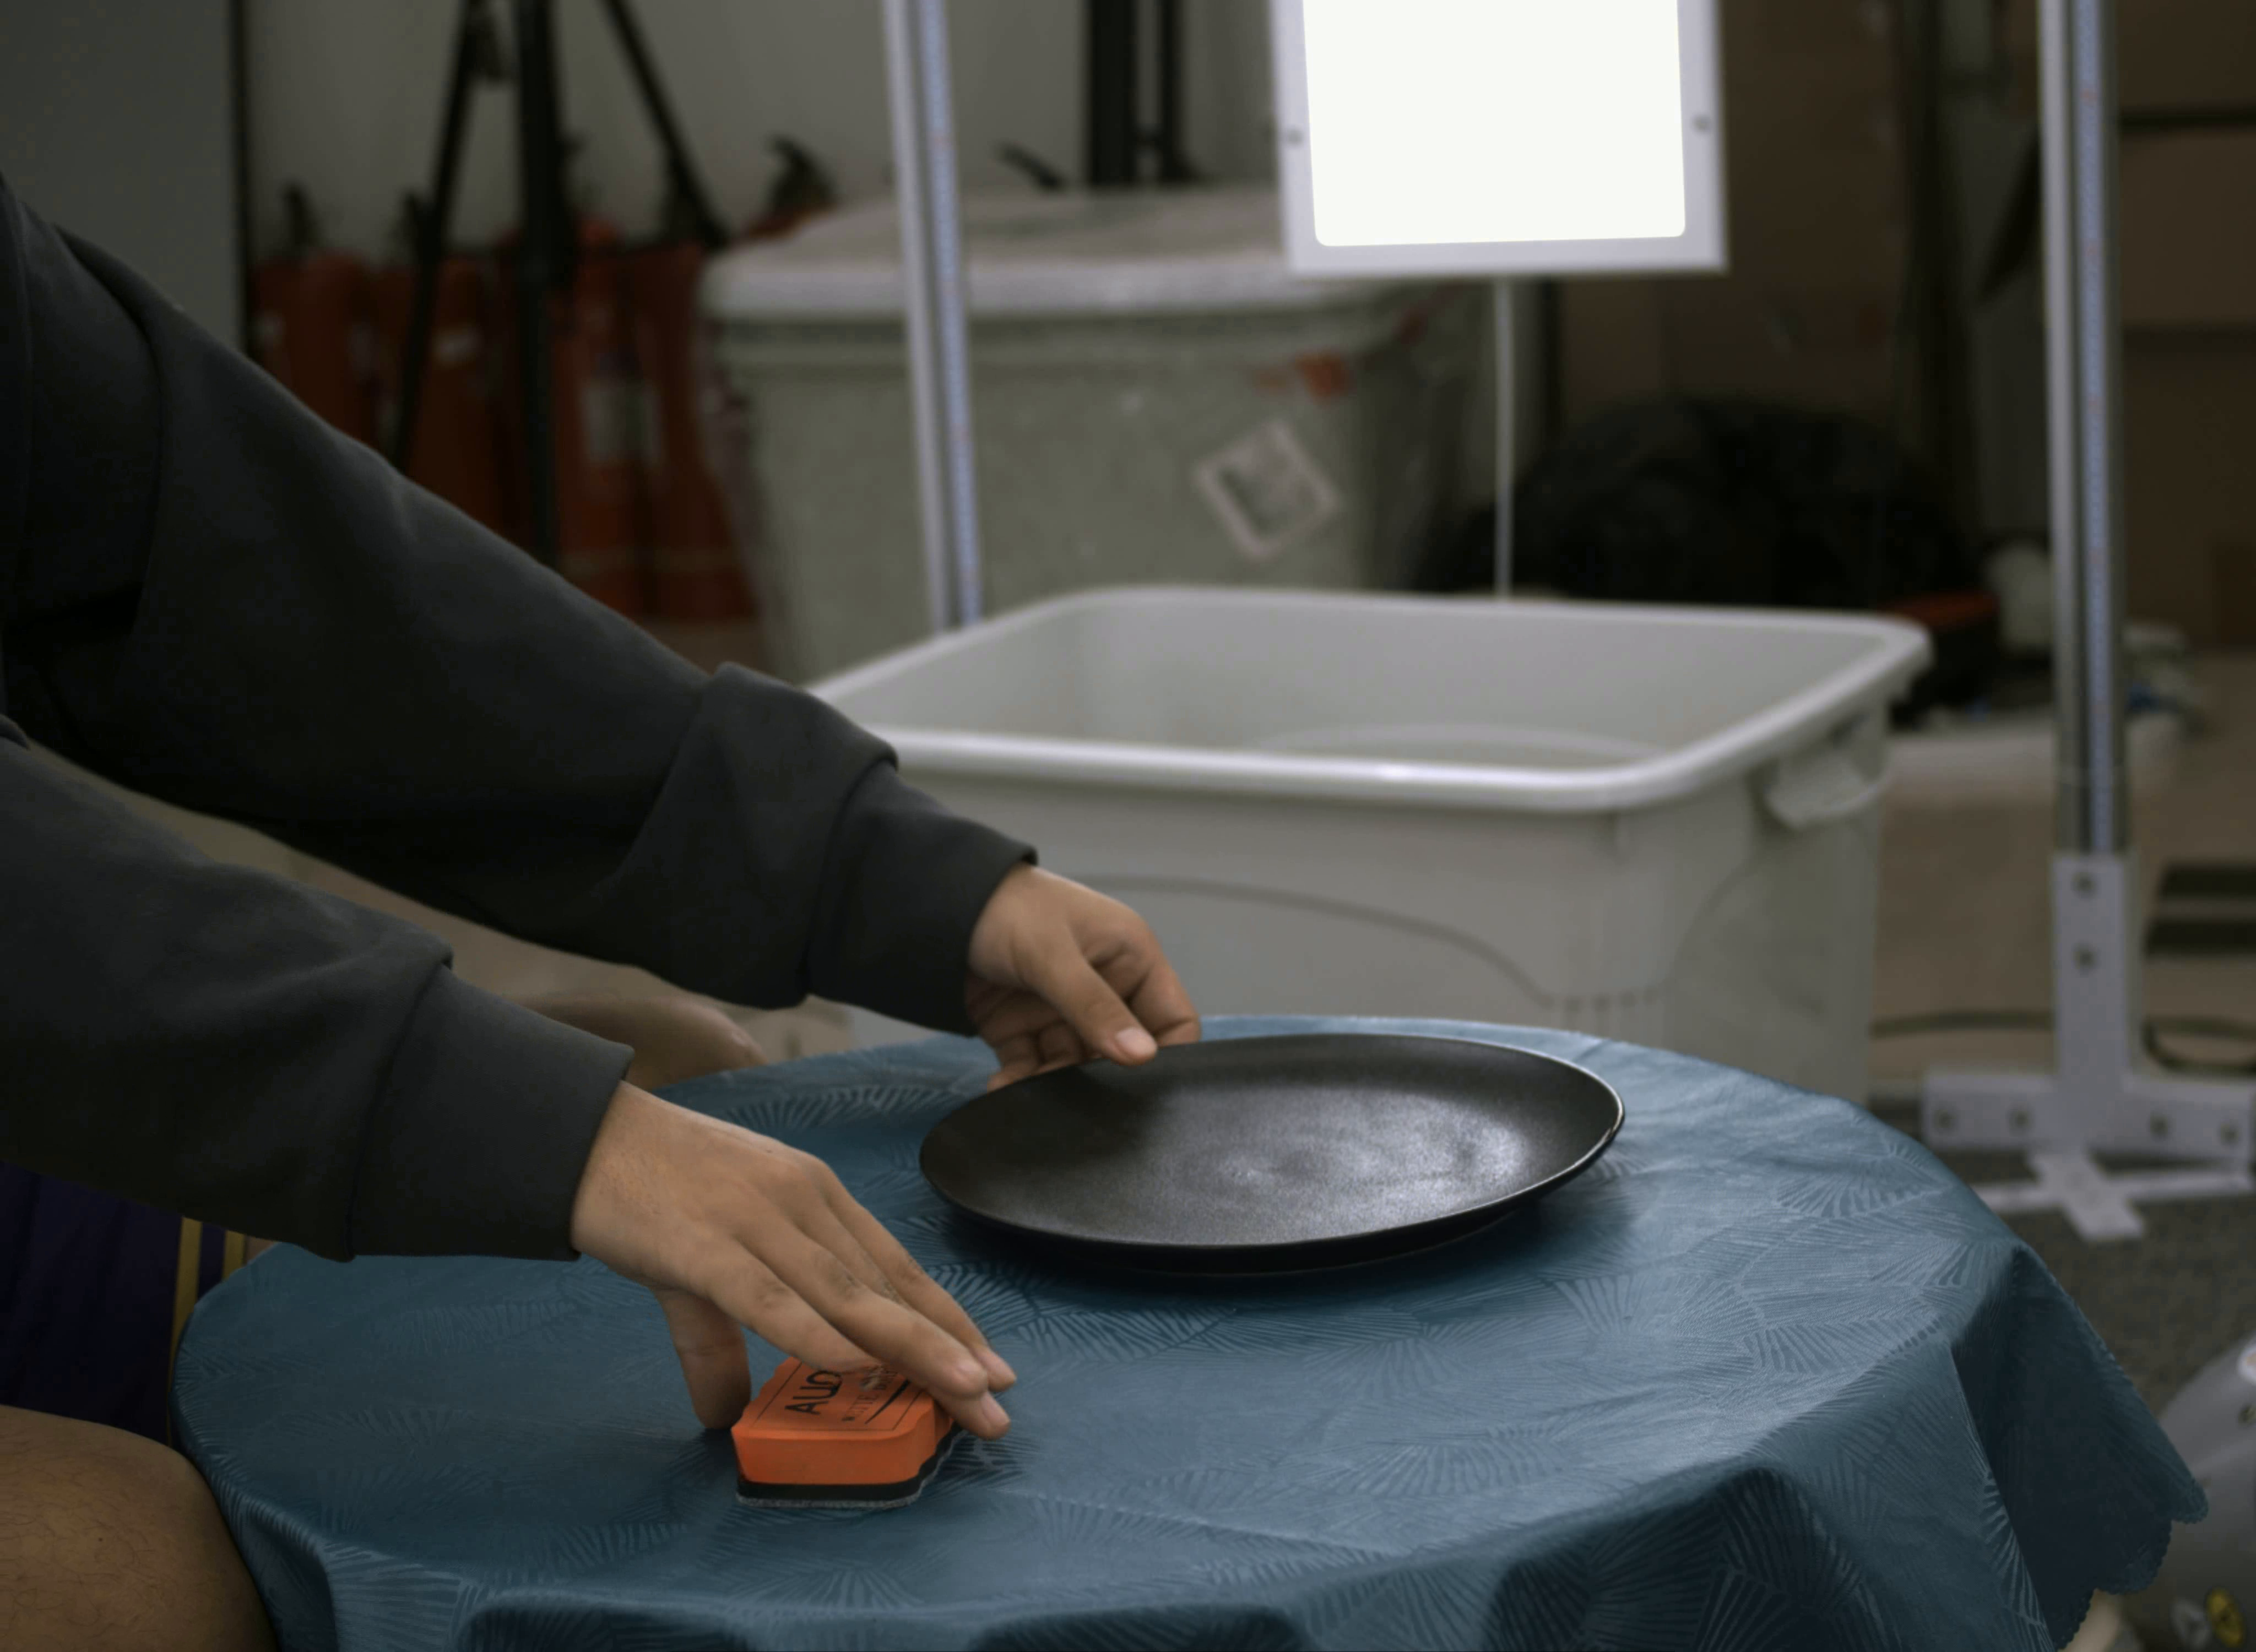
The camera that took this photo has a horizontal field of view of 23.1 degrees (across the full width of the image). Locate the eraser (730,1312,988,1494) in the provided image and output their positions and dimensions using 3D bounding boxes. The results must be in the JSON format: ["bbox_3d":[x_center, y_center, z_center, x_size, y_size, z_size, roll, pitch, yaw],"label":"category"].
[{"bbox_3d":[-0.080,0.174,1.671,0.059,0.023,0.106,0,13,13],"label":"eraser"}]

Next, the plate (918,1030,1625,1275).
[{"bbox_3d":[0.049,0.114,1.881,0.244,0.023,0.244,-5,14,0],"label":"plate"}]
